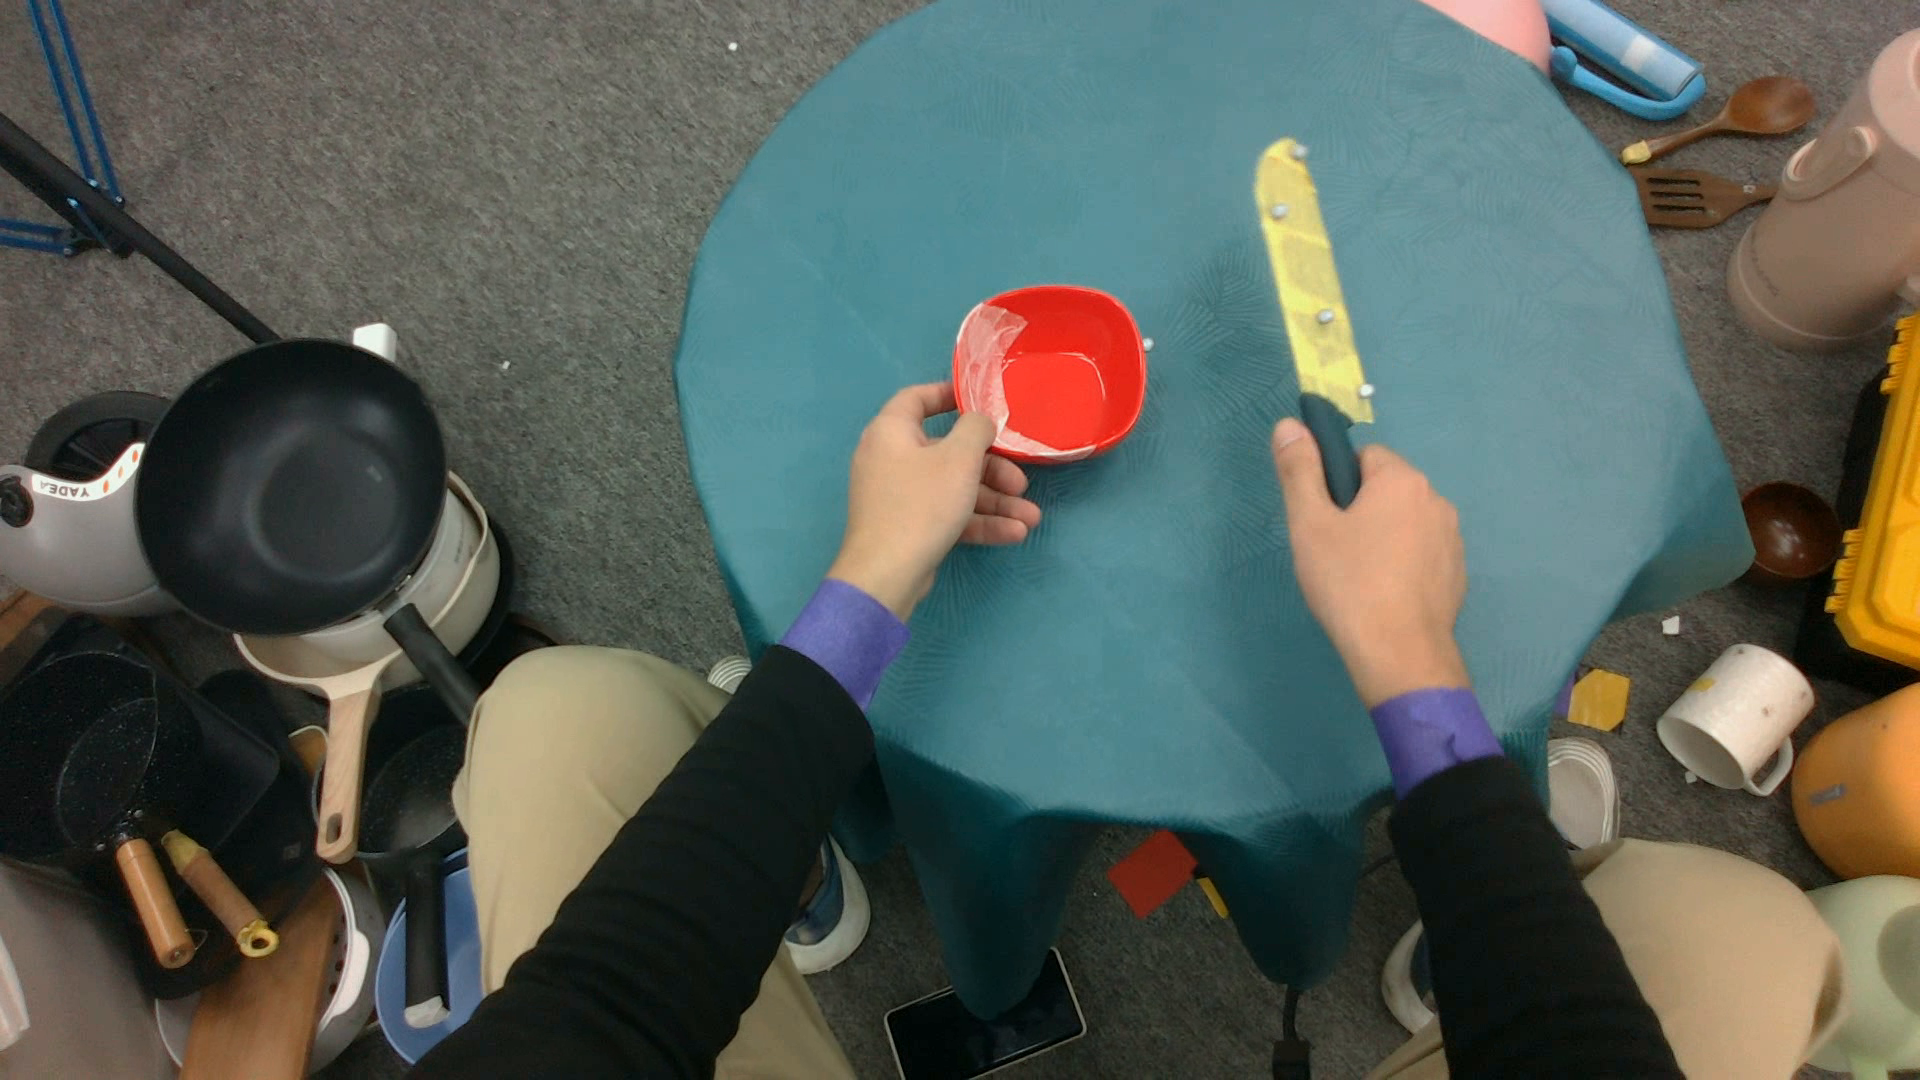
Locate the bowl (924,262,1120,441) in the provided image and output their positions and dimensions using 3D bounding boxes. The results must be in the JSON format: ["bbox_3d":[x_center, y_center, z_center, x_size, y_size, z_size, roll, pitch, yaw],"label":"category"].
[{"bbox_3d":[0.036,-0.101,0.799,0.119,0.051,0.119,-1,68,2],"label":"bowl"}]

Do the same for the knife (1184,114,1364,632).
[{"bbox_3d":[0.169,-0.093,0.733,0.027,0.081,0.289,-20,83,40],"label":"knife"}]
